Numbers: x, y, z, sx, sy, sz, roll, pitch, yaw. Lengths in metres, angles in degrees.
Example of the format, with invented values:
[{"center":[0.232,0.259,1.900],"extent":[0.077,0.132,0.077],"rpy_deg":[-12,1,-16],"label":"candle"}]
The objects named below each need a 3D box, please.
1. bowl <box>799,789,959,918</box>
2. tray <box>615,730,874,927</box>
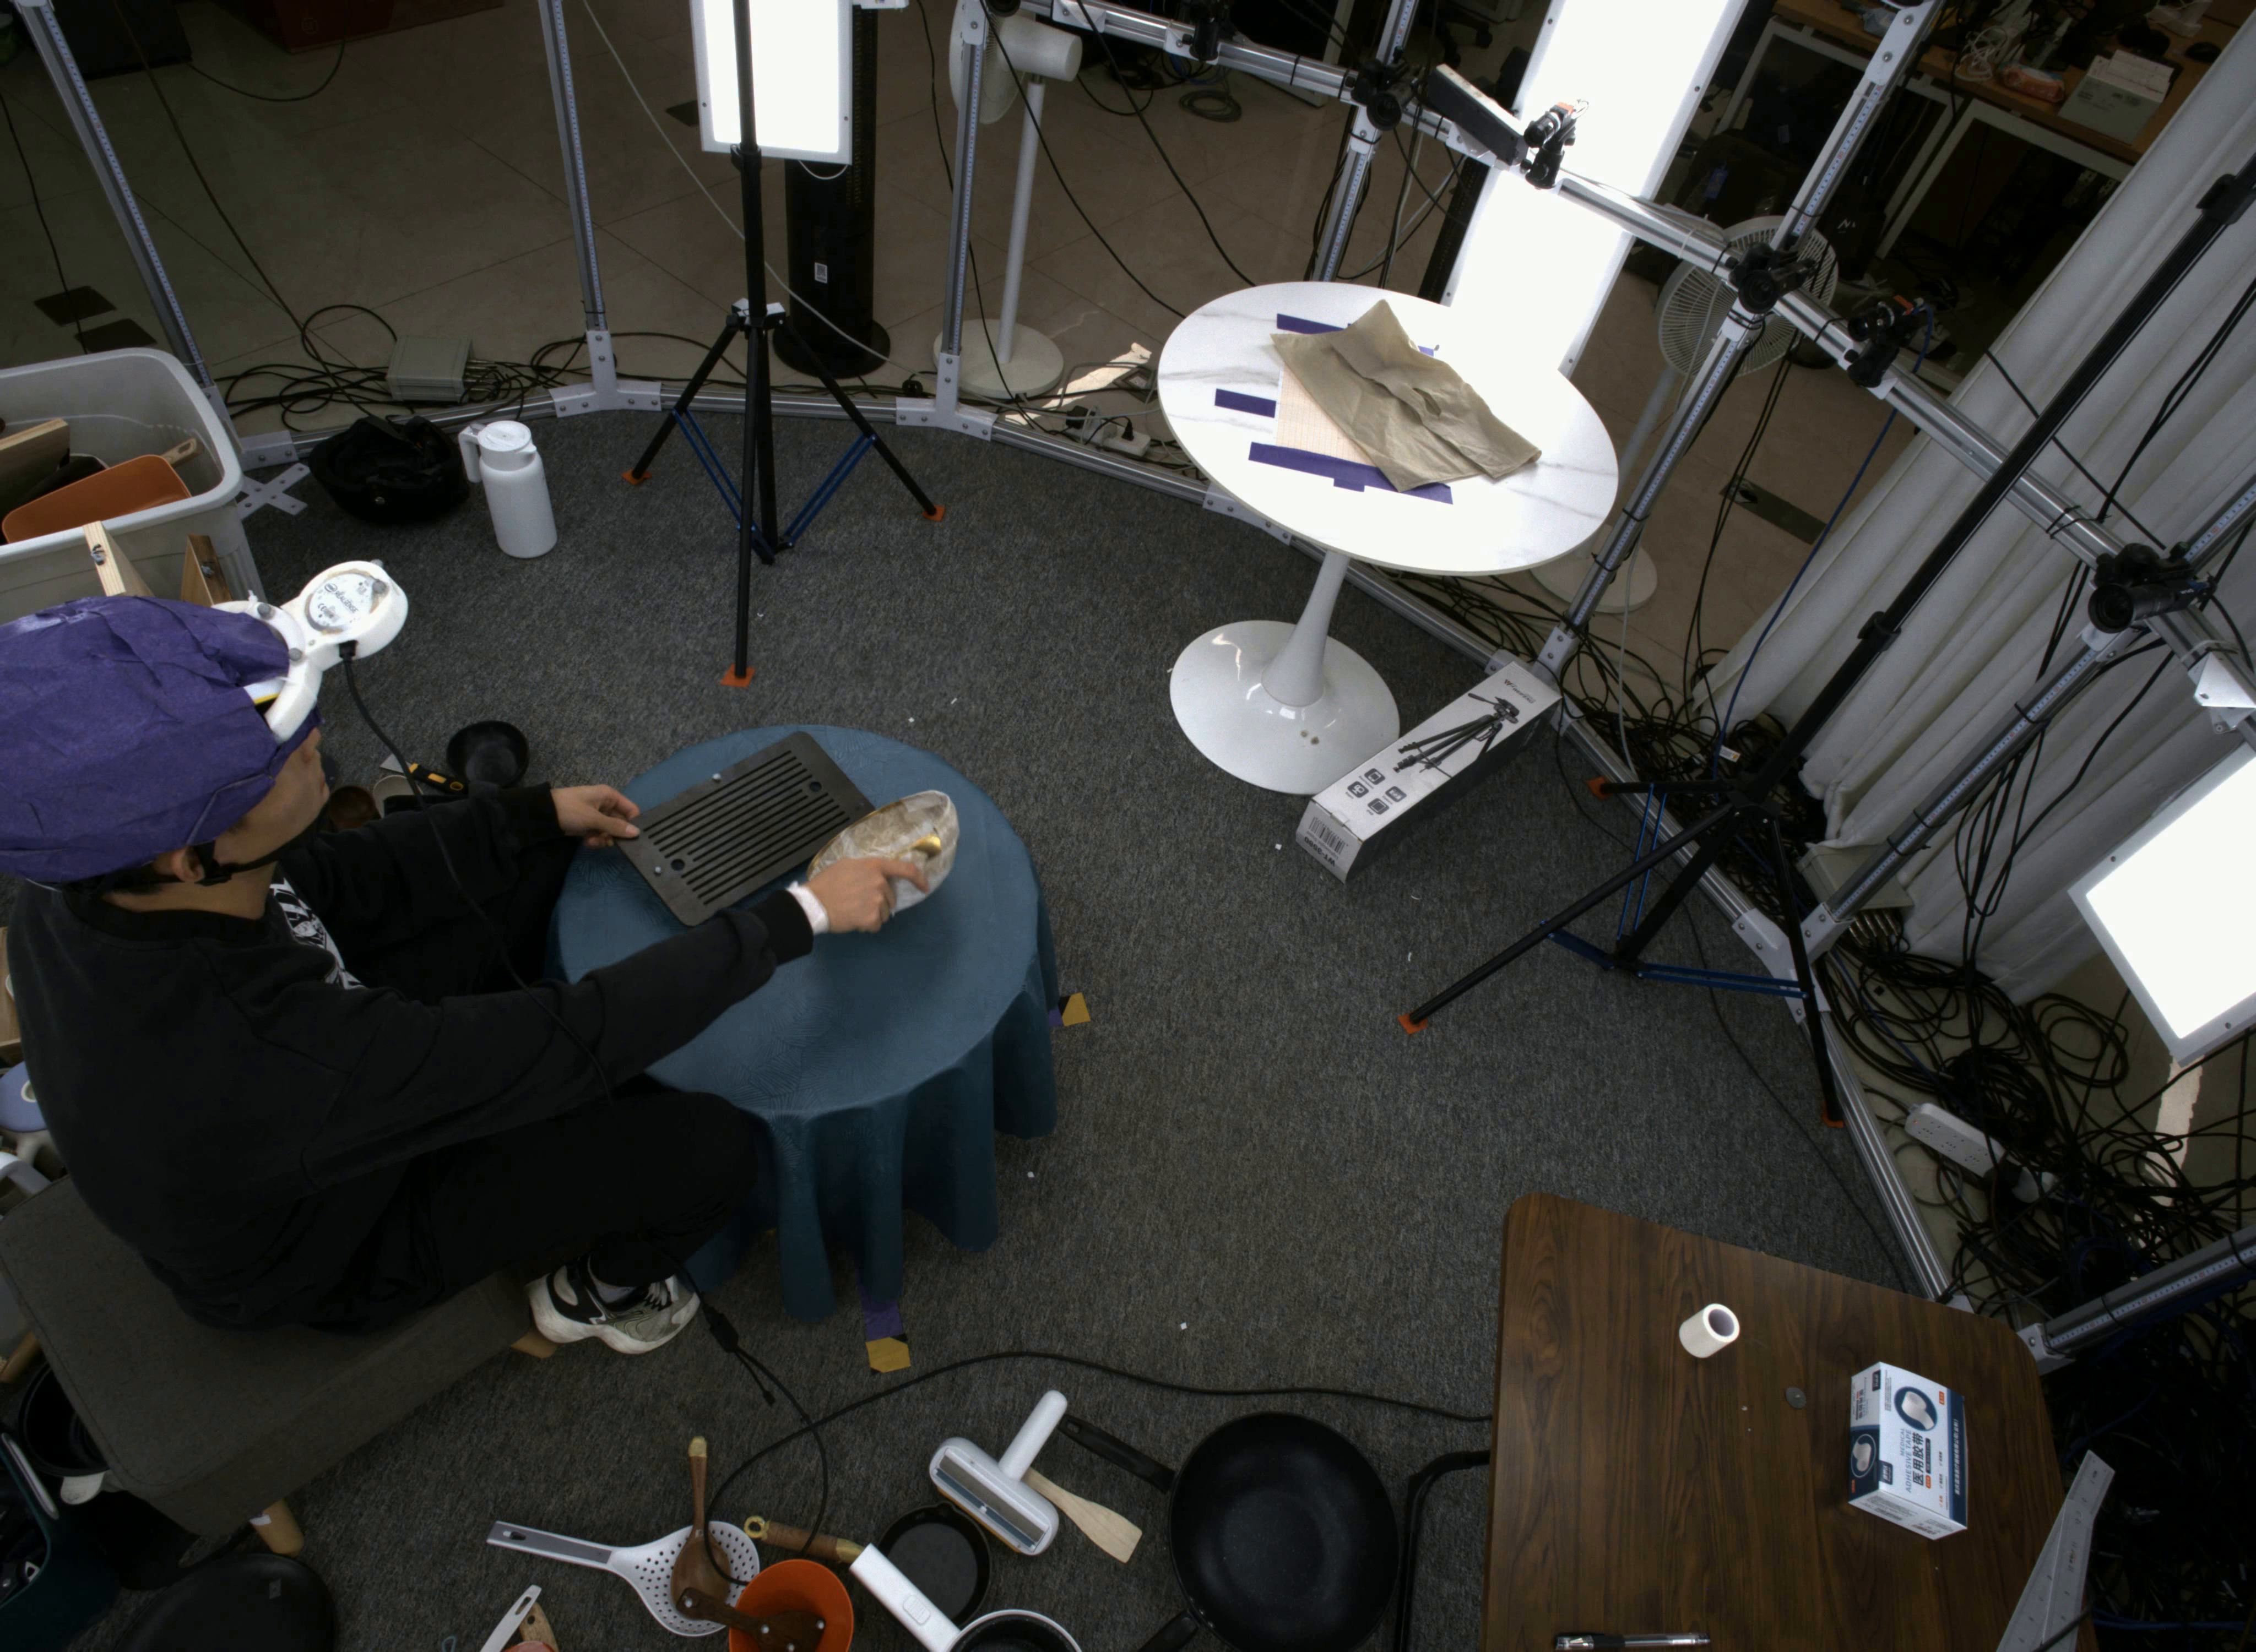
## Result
[{"center":[-0.295,0.050,1.623],"extent":[0.211,0.098,0.210],"rpy_deg":[-20,26,12],"label":"bowl"},{"center":[-0.494,-0.003,1.678],"extent":[0.168,0.019,0.307],"rpy_deg":[47,53,11],"label":"tray"}]
